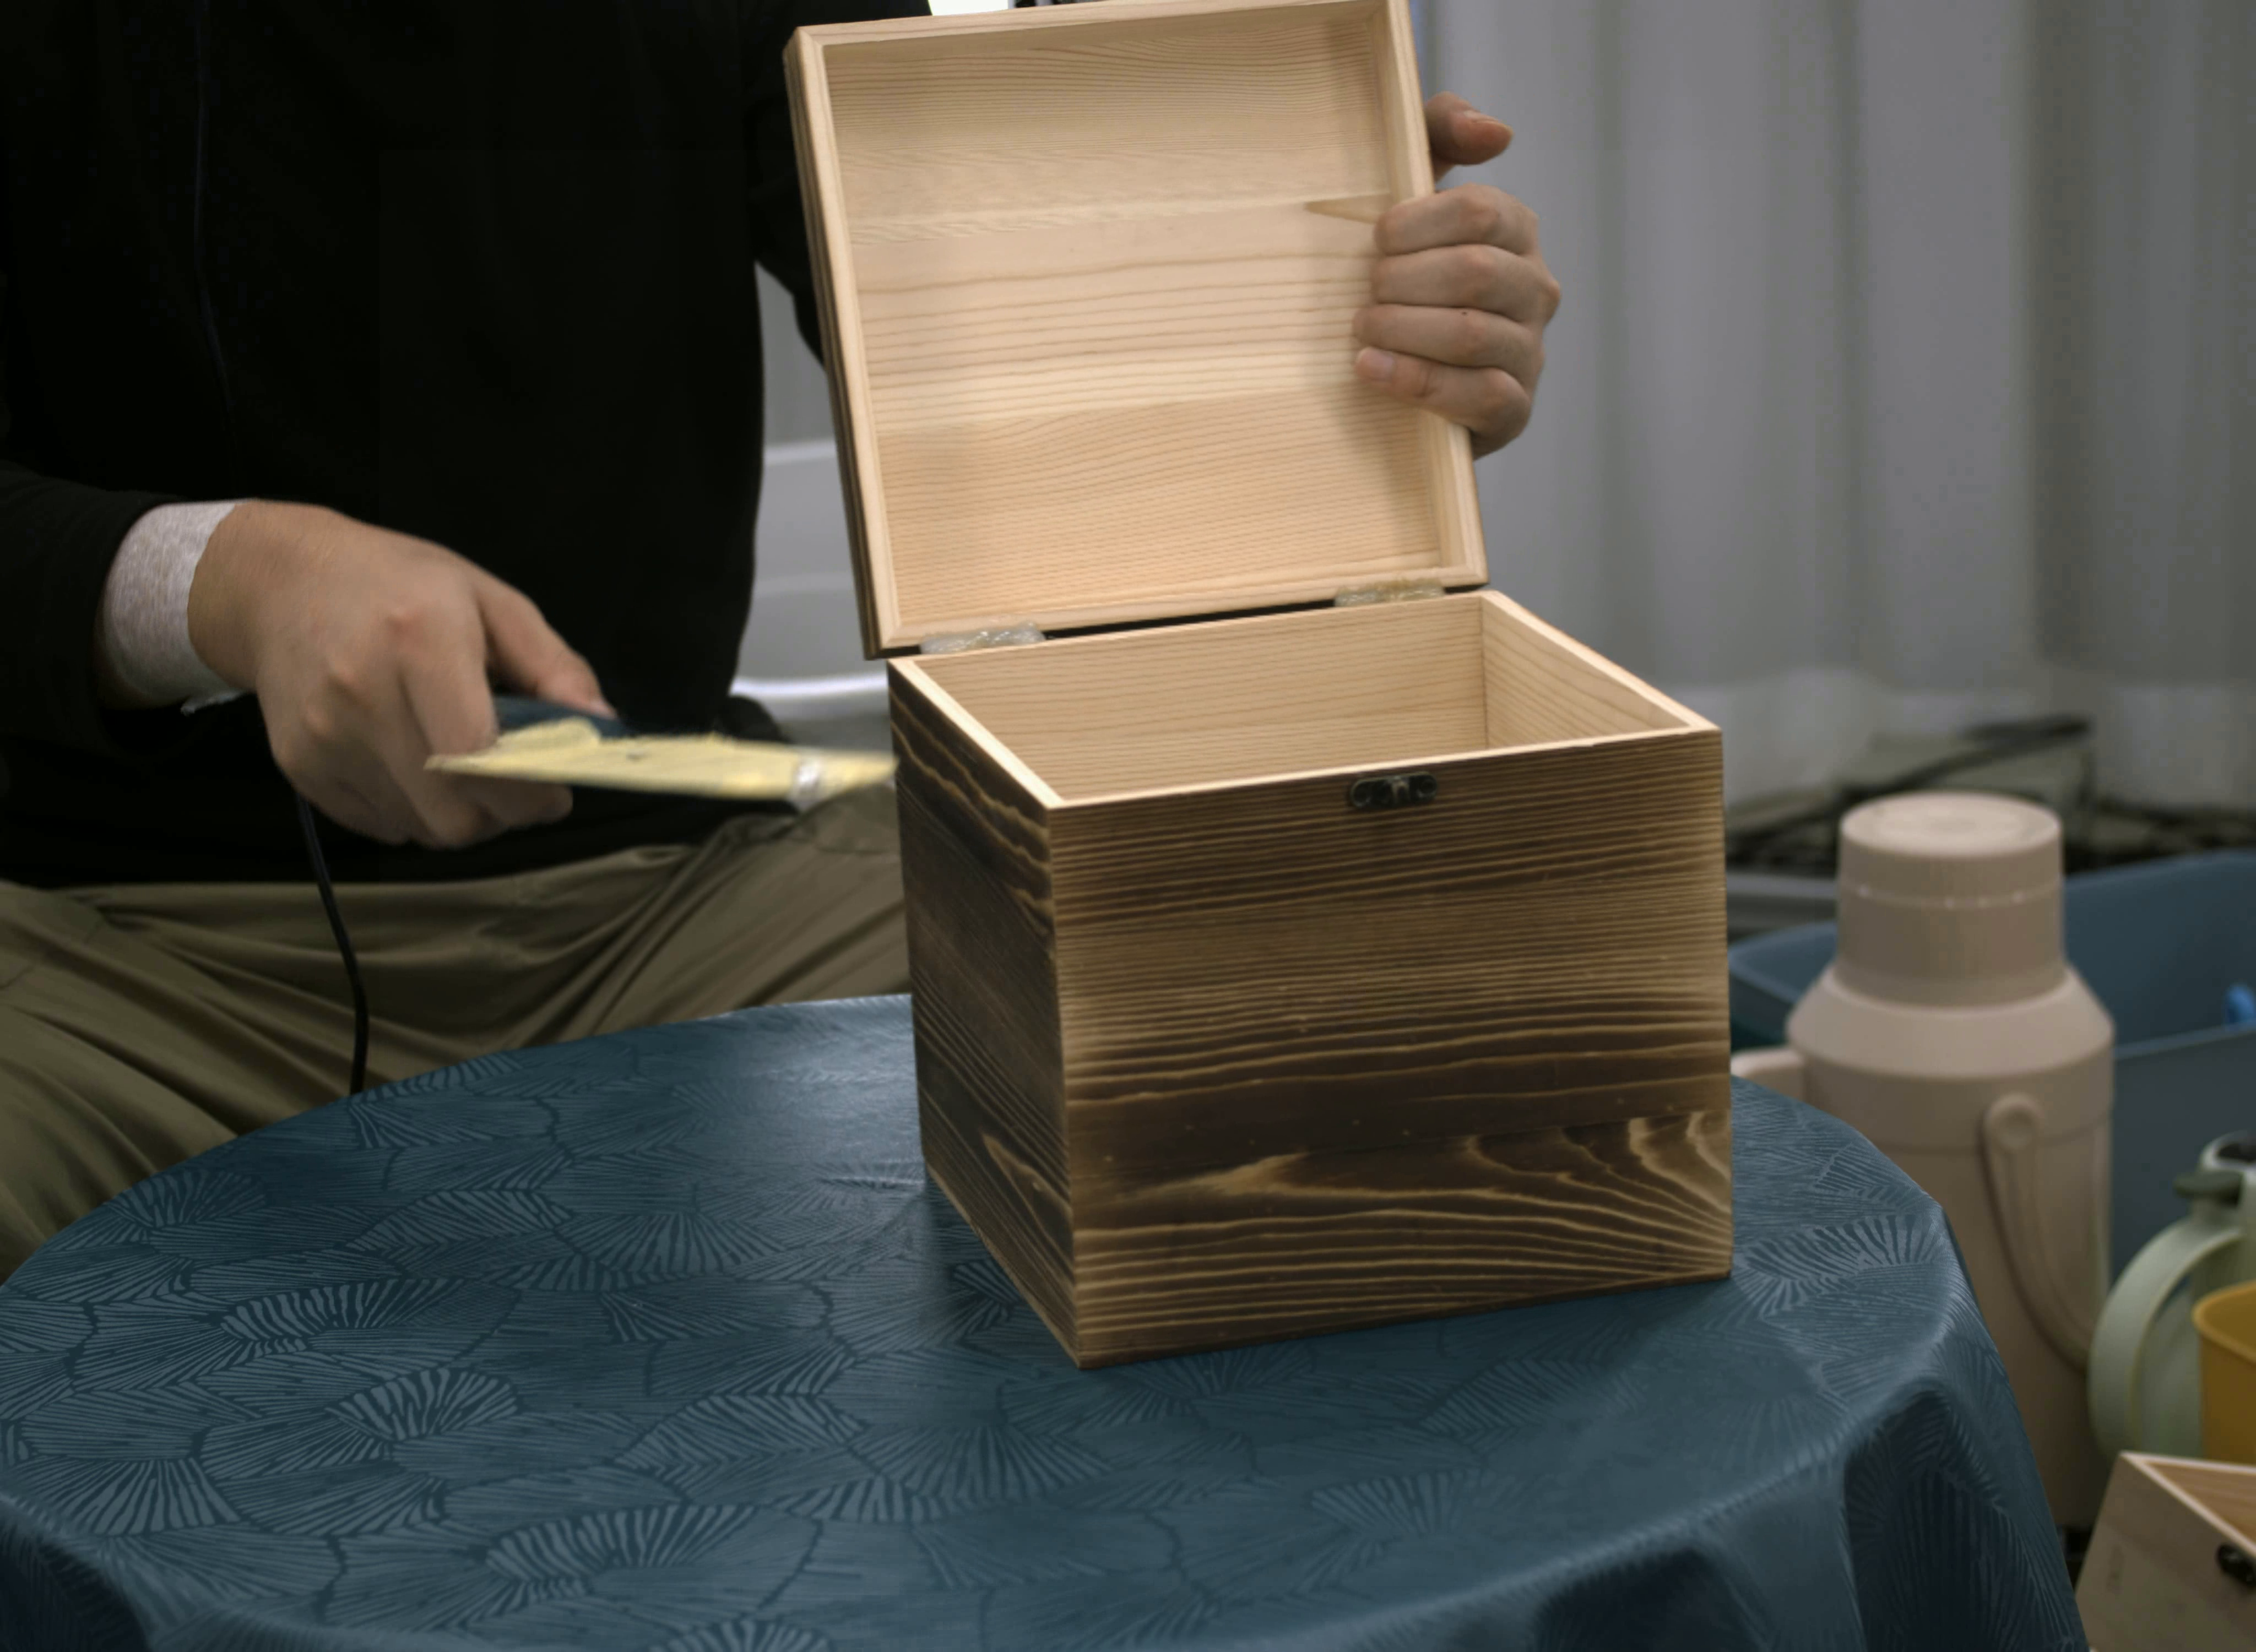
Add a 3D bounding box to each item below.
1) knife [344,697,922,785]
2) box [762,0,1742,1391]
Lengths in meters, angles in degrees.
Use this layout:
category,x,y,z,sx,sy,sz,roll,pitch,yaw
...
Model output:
category,x,y,z,sx,sy,sz,roll,pitch,yaw
knife,-0.158,-0.024,1.607,0.080,0.027,0.290,-3,3,-38
box,0.031,-0.063,1.684,0.208,0.374,0.324,-7,14,-14
